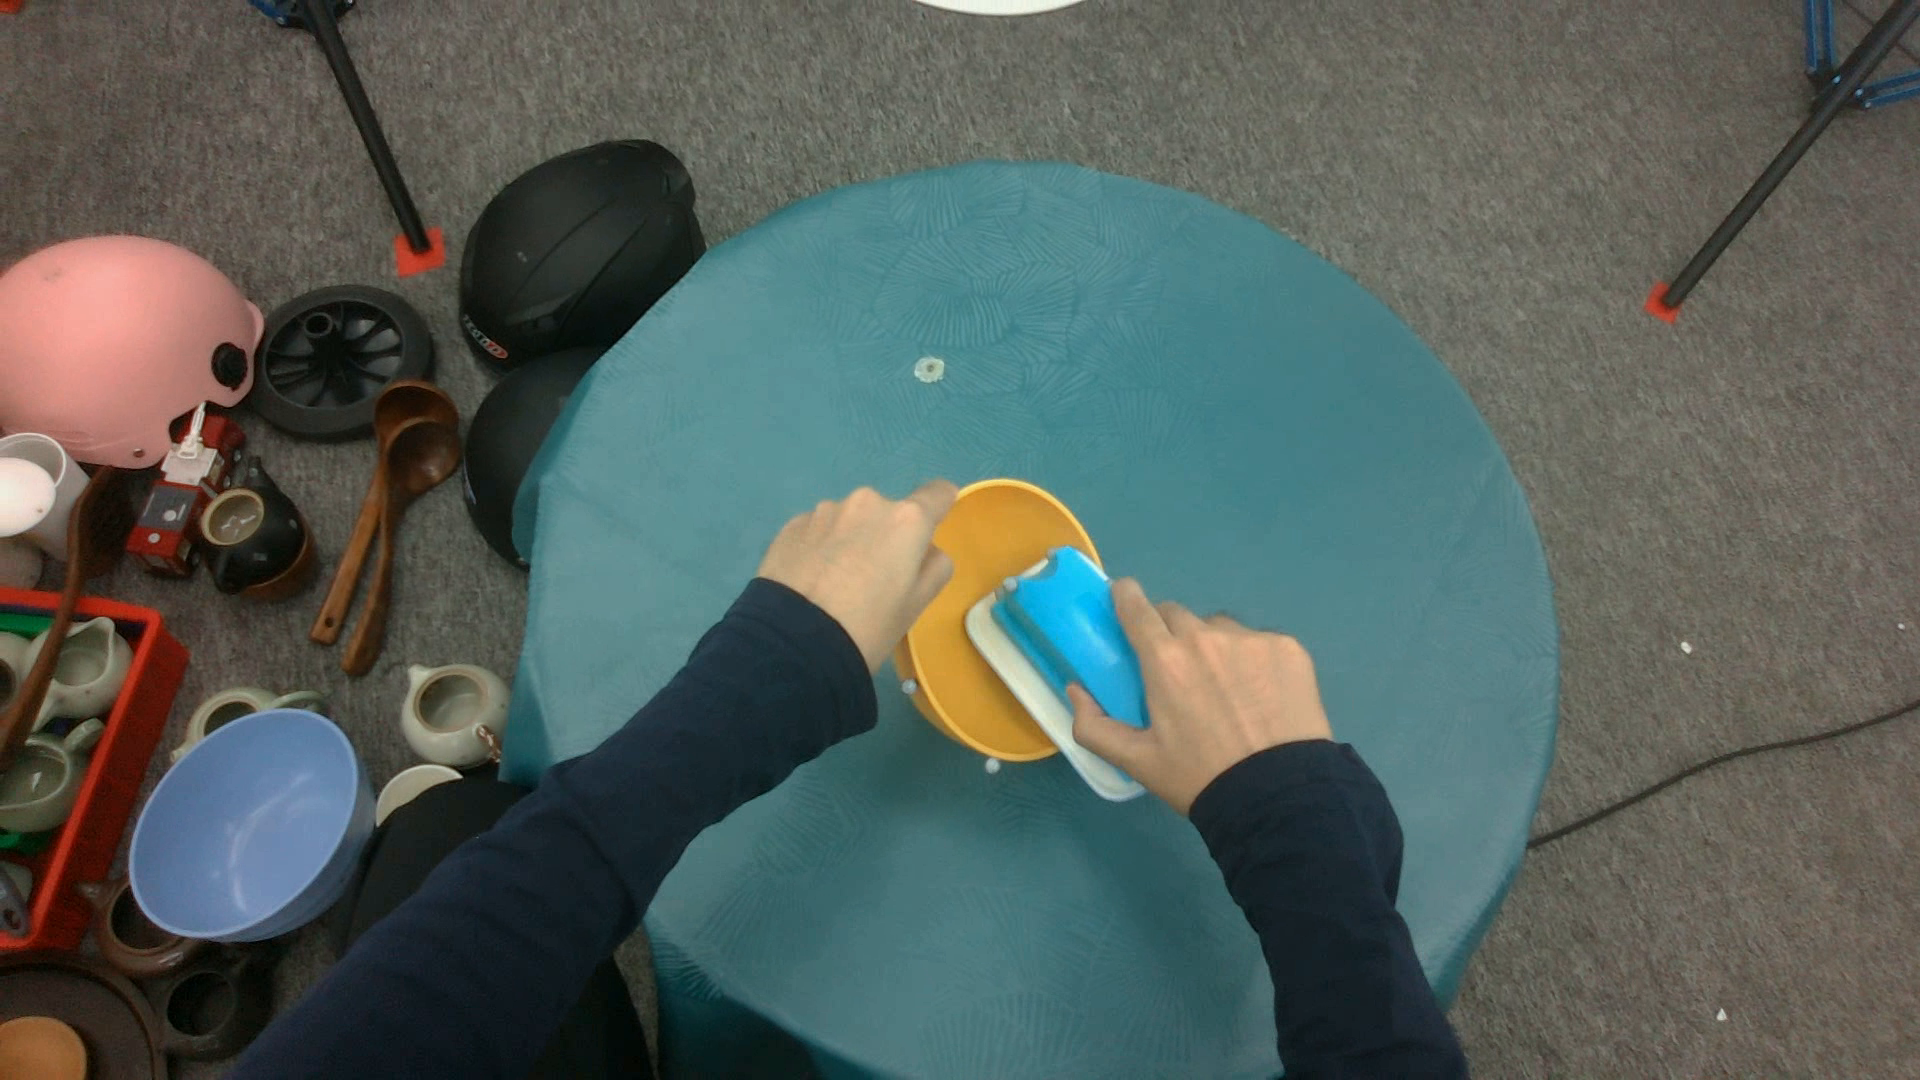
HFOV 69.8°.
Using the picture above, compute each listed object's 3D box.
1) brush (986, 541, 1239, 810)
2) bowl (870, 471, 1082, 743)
[{"bbox_3d":[0.074,0.062,0.706,0.084,0.056,0.144,-31,60,-7],"label":"brush"},{"bbox_3d":[0.004,0.040,0.730,0.145,0.060,0.146,15,65,-35],"label":"bowl"}]
